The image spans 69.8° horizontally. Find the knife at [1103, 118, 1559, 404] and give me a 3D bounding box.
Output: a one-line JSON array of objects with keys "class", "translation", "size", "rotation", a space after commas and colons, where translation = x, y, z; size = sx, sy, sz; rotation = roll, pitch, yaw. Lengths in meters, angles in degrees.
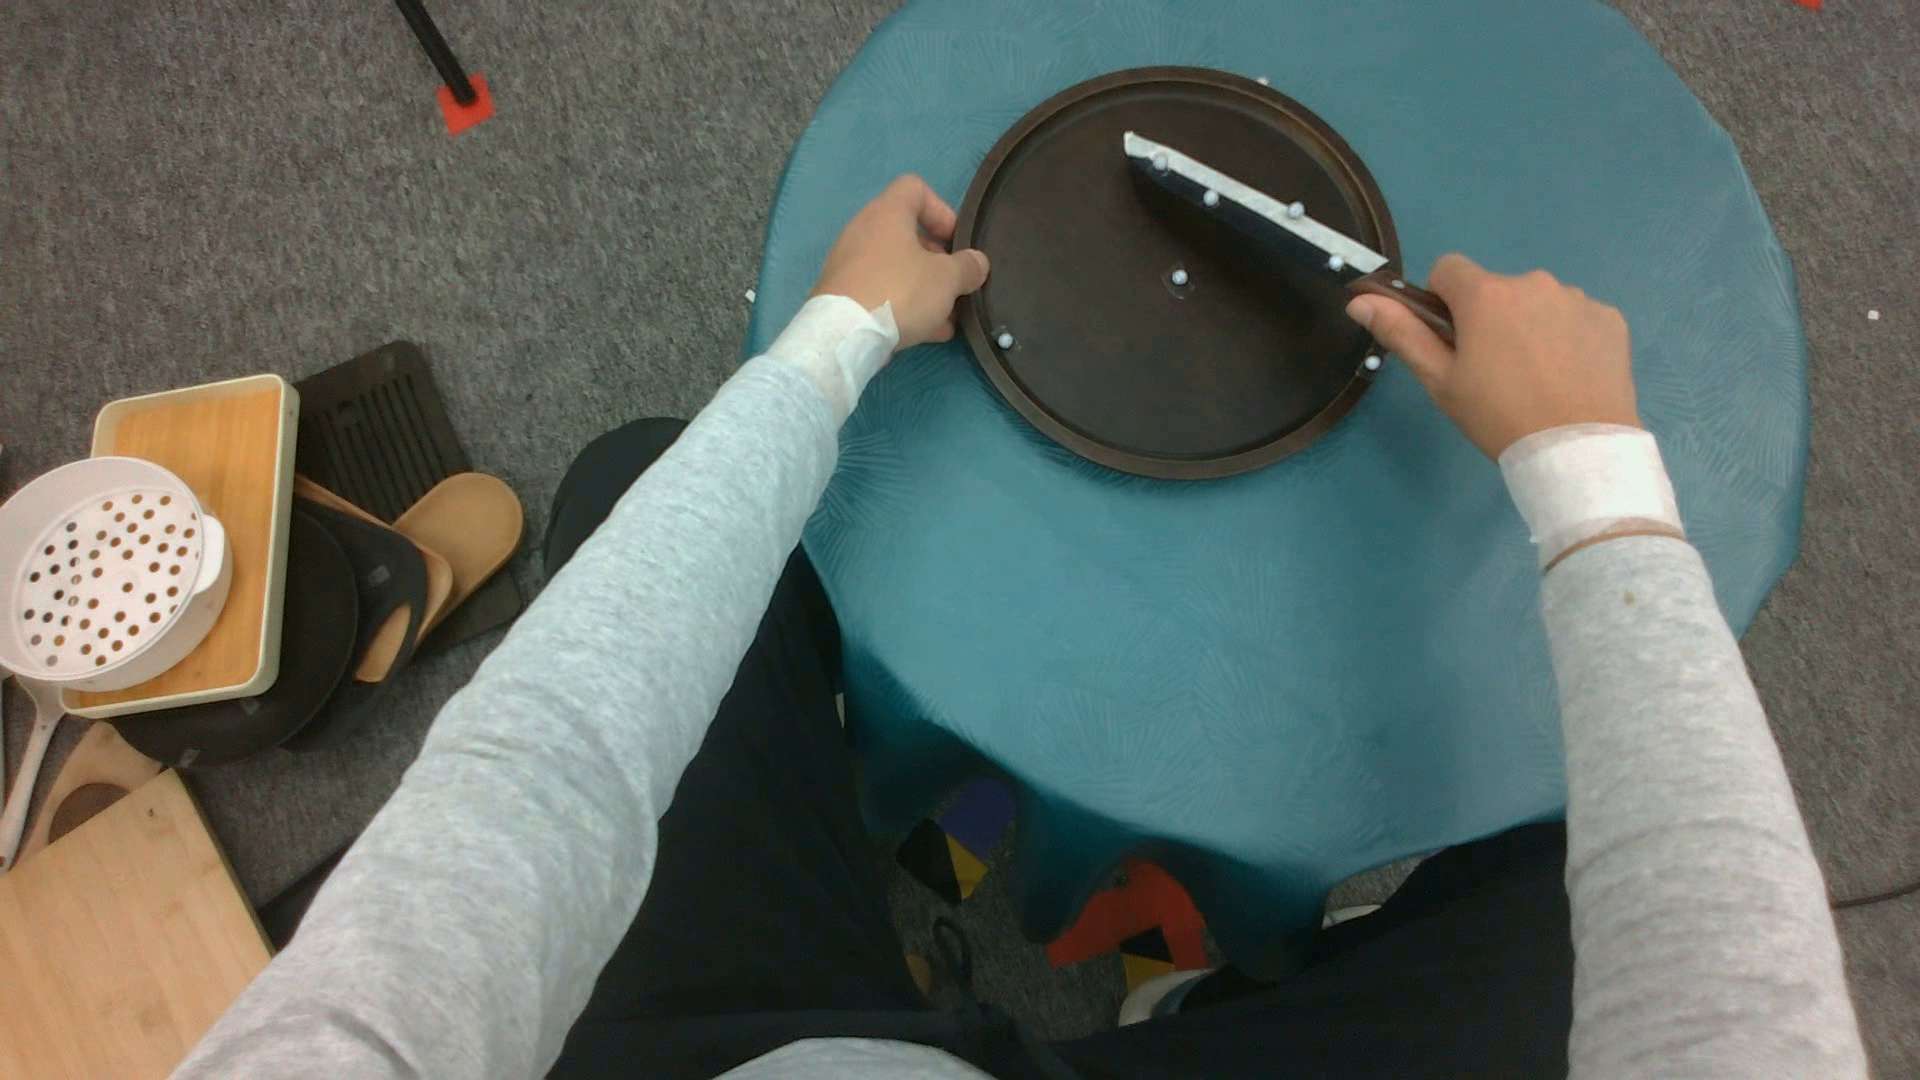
[{"class": "knife", "translation": [0.187, -0.156, 0.728], "size": [0.289, 0.020, 0.050], "rotation": [38, 47, 21]}]

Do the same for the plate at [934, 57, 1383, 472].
[{"class": "plate", "translation": [0.111, -0.158, 0.779], "size": [0.255, 0.029, 0.255], "rotation": [1, 76, -3]}]
